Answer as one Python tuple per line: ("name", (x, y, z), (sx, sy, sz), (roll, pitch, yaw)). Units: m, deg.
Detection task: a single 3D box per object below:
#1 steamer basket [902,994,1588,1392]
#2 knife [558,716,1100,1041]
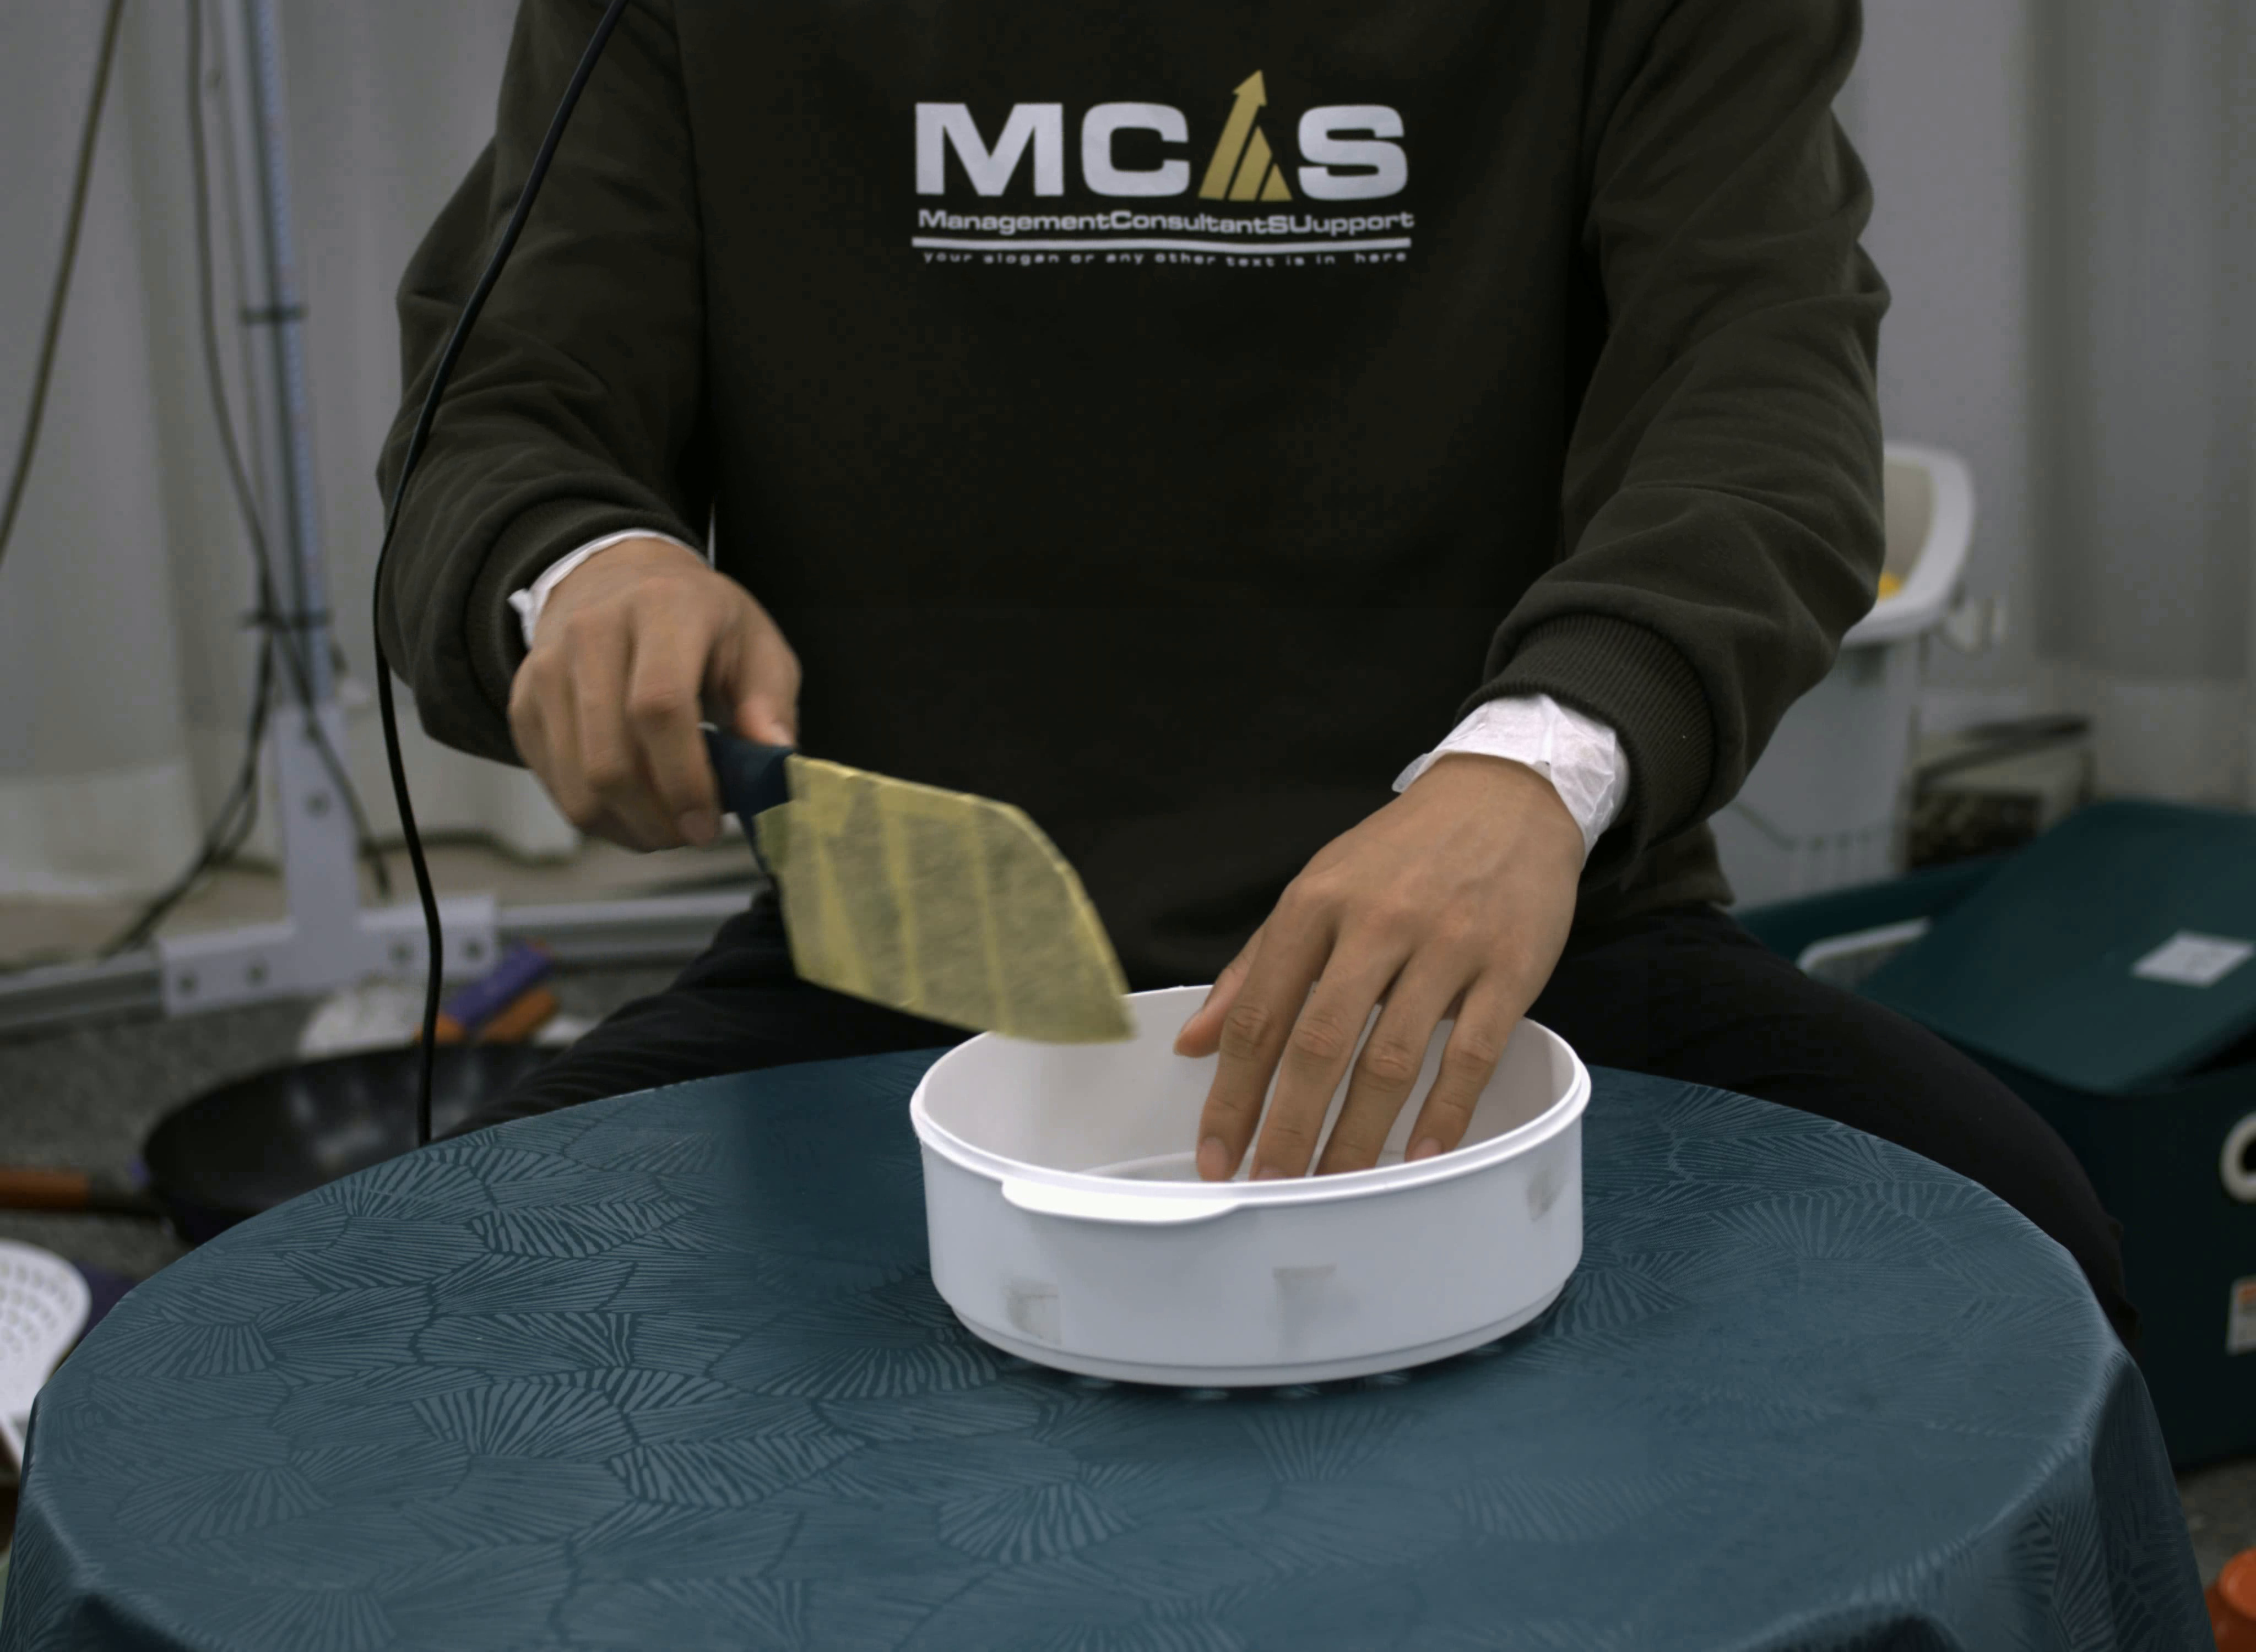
("steamer basket", (0.035, 0.107, 1.609), (0.202, 0.069, 0.231), (5, 15, 24))
("knife", (-0.091, 0.013, 1.621), (0.027, 0.080, 0.291), (-13, 18, -33))
